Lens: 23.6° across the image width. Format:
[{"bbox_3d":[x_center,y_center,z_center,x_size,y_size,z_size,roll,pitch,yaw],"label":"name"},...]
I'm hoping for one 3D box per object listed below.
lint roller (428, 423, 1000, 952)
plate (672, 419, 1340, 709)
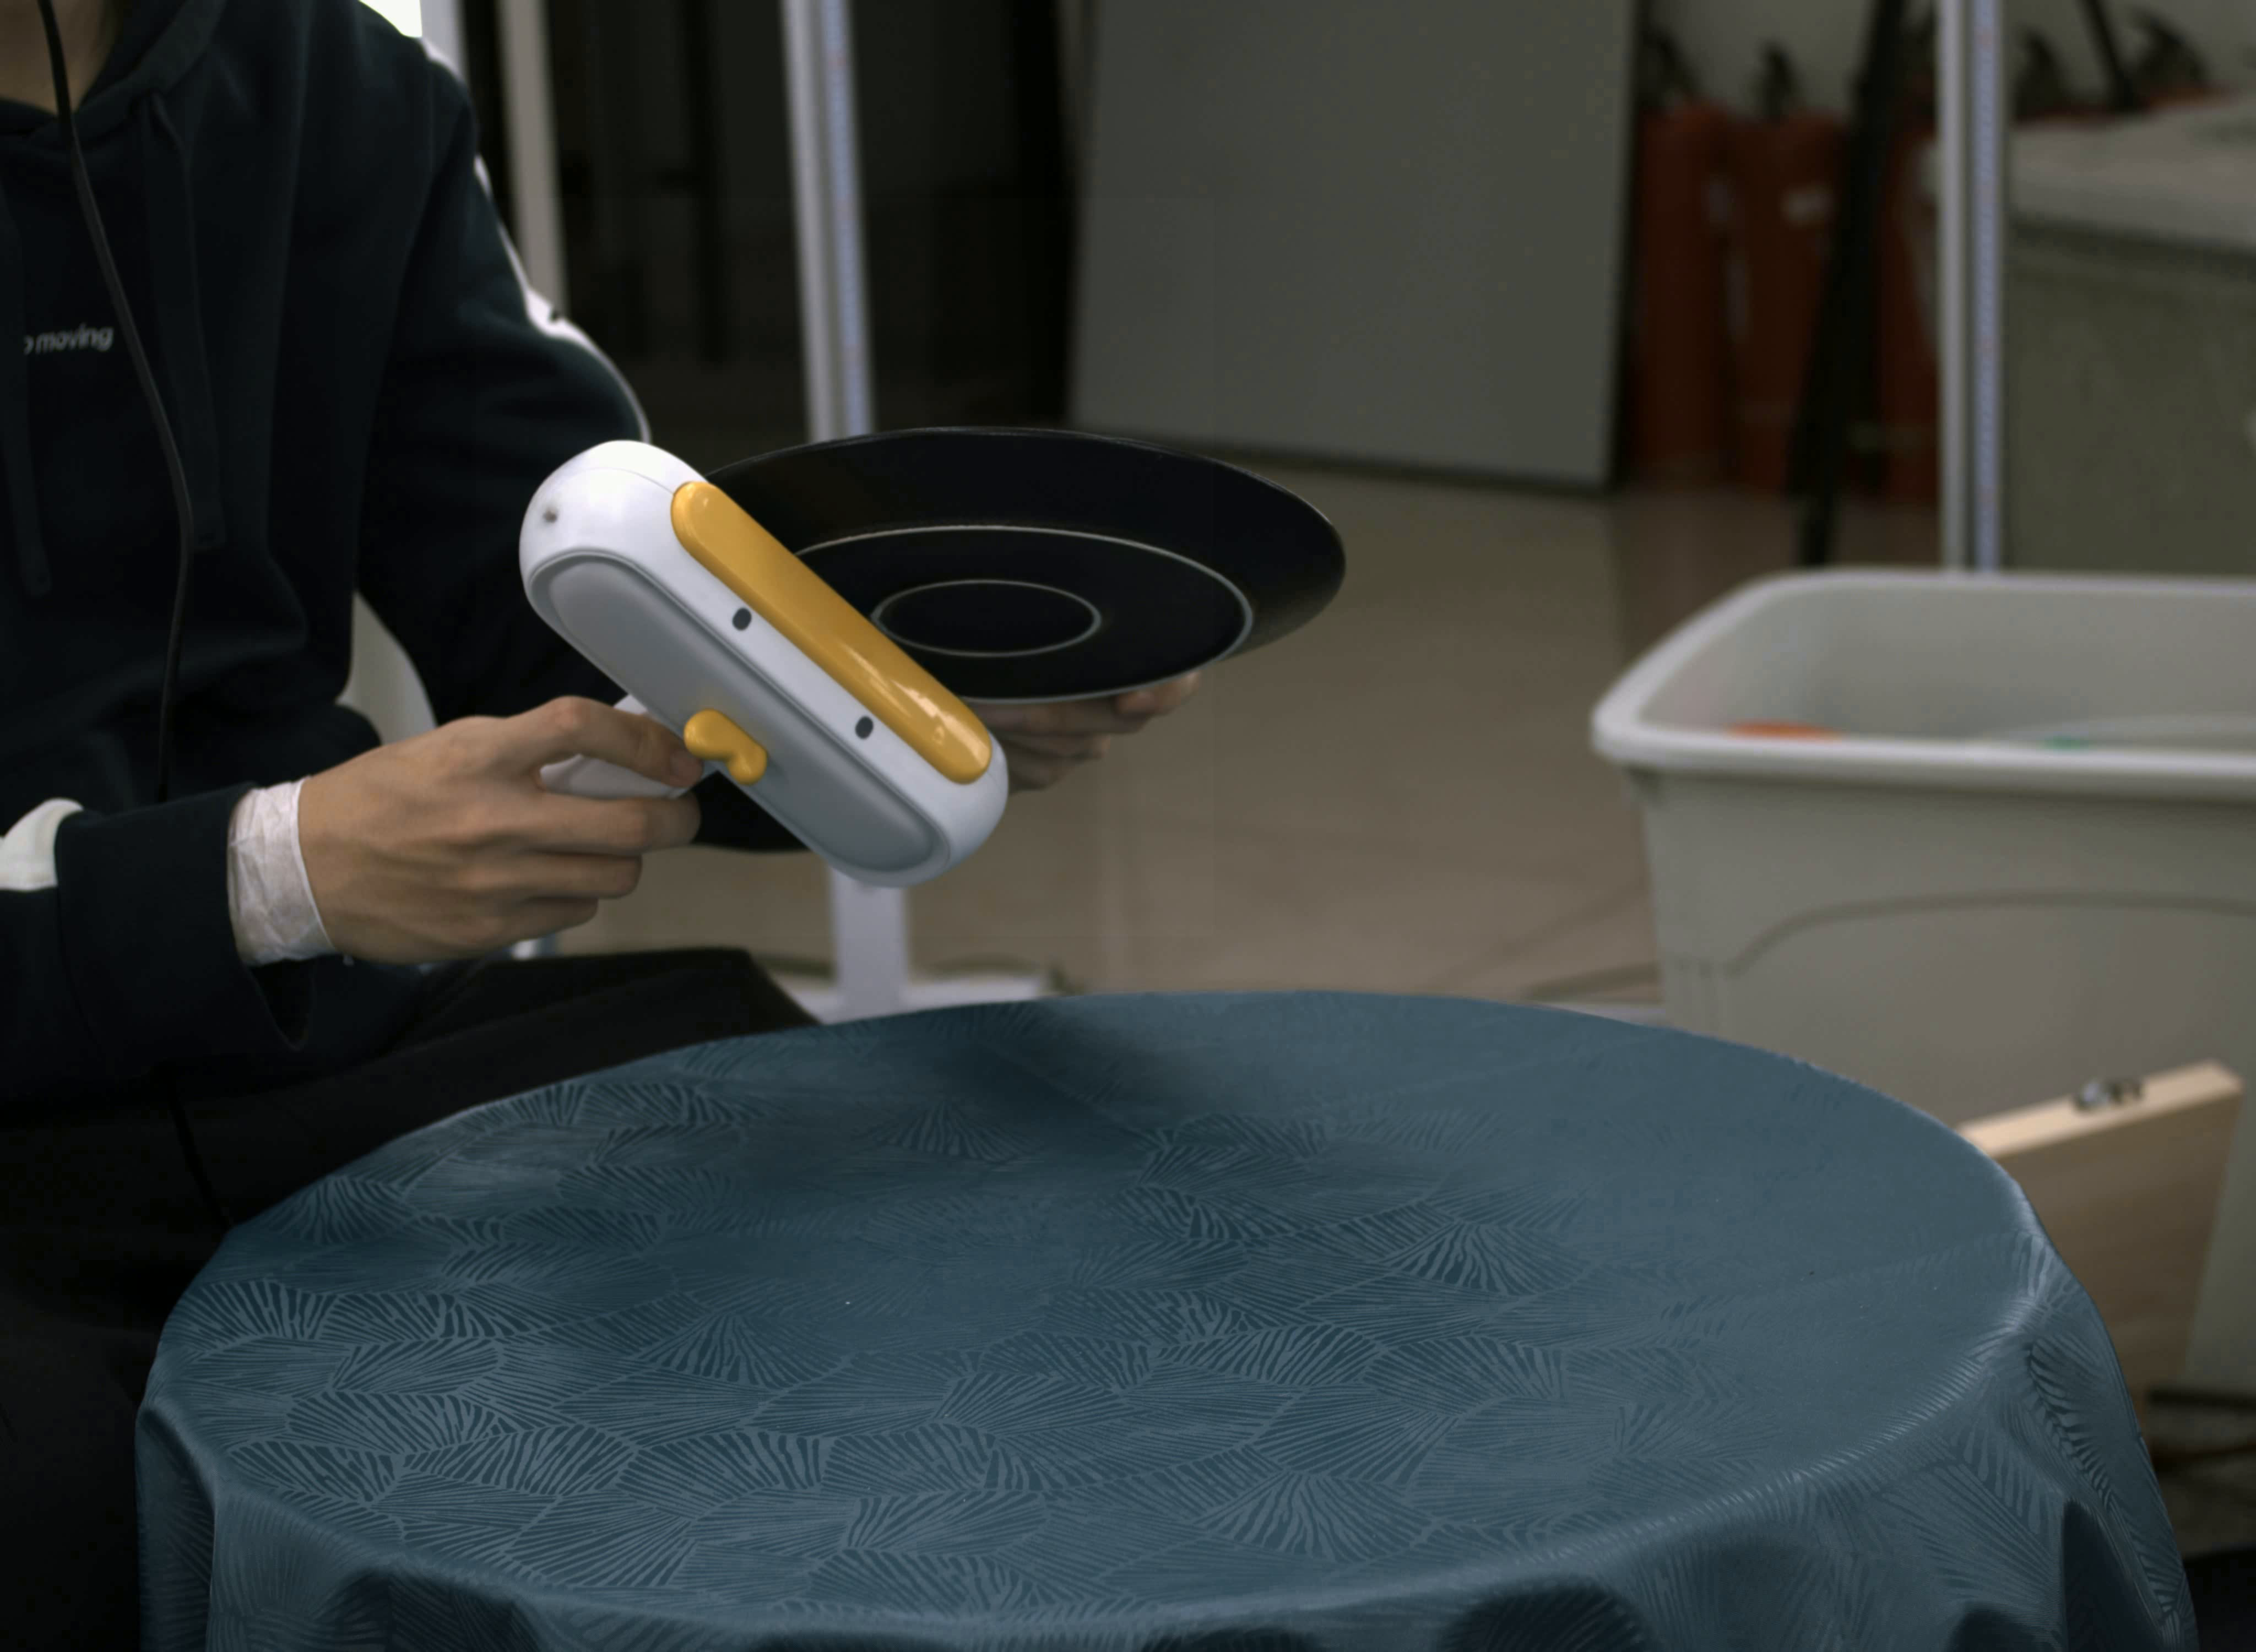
[{"bbox_3d":[-0.162,-0.025,1.794,0.194,0.190,0.074,-34,32,37],"label":"lint roller"},{"bbox_3d":[-0.048,-0.081,1.821,0.241,0.024,0.244,1,-19,-1],"label":"plate"}]
